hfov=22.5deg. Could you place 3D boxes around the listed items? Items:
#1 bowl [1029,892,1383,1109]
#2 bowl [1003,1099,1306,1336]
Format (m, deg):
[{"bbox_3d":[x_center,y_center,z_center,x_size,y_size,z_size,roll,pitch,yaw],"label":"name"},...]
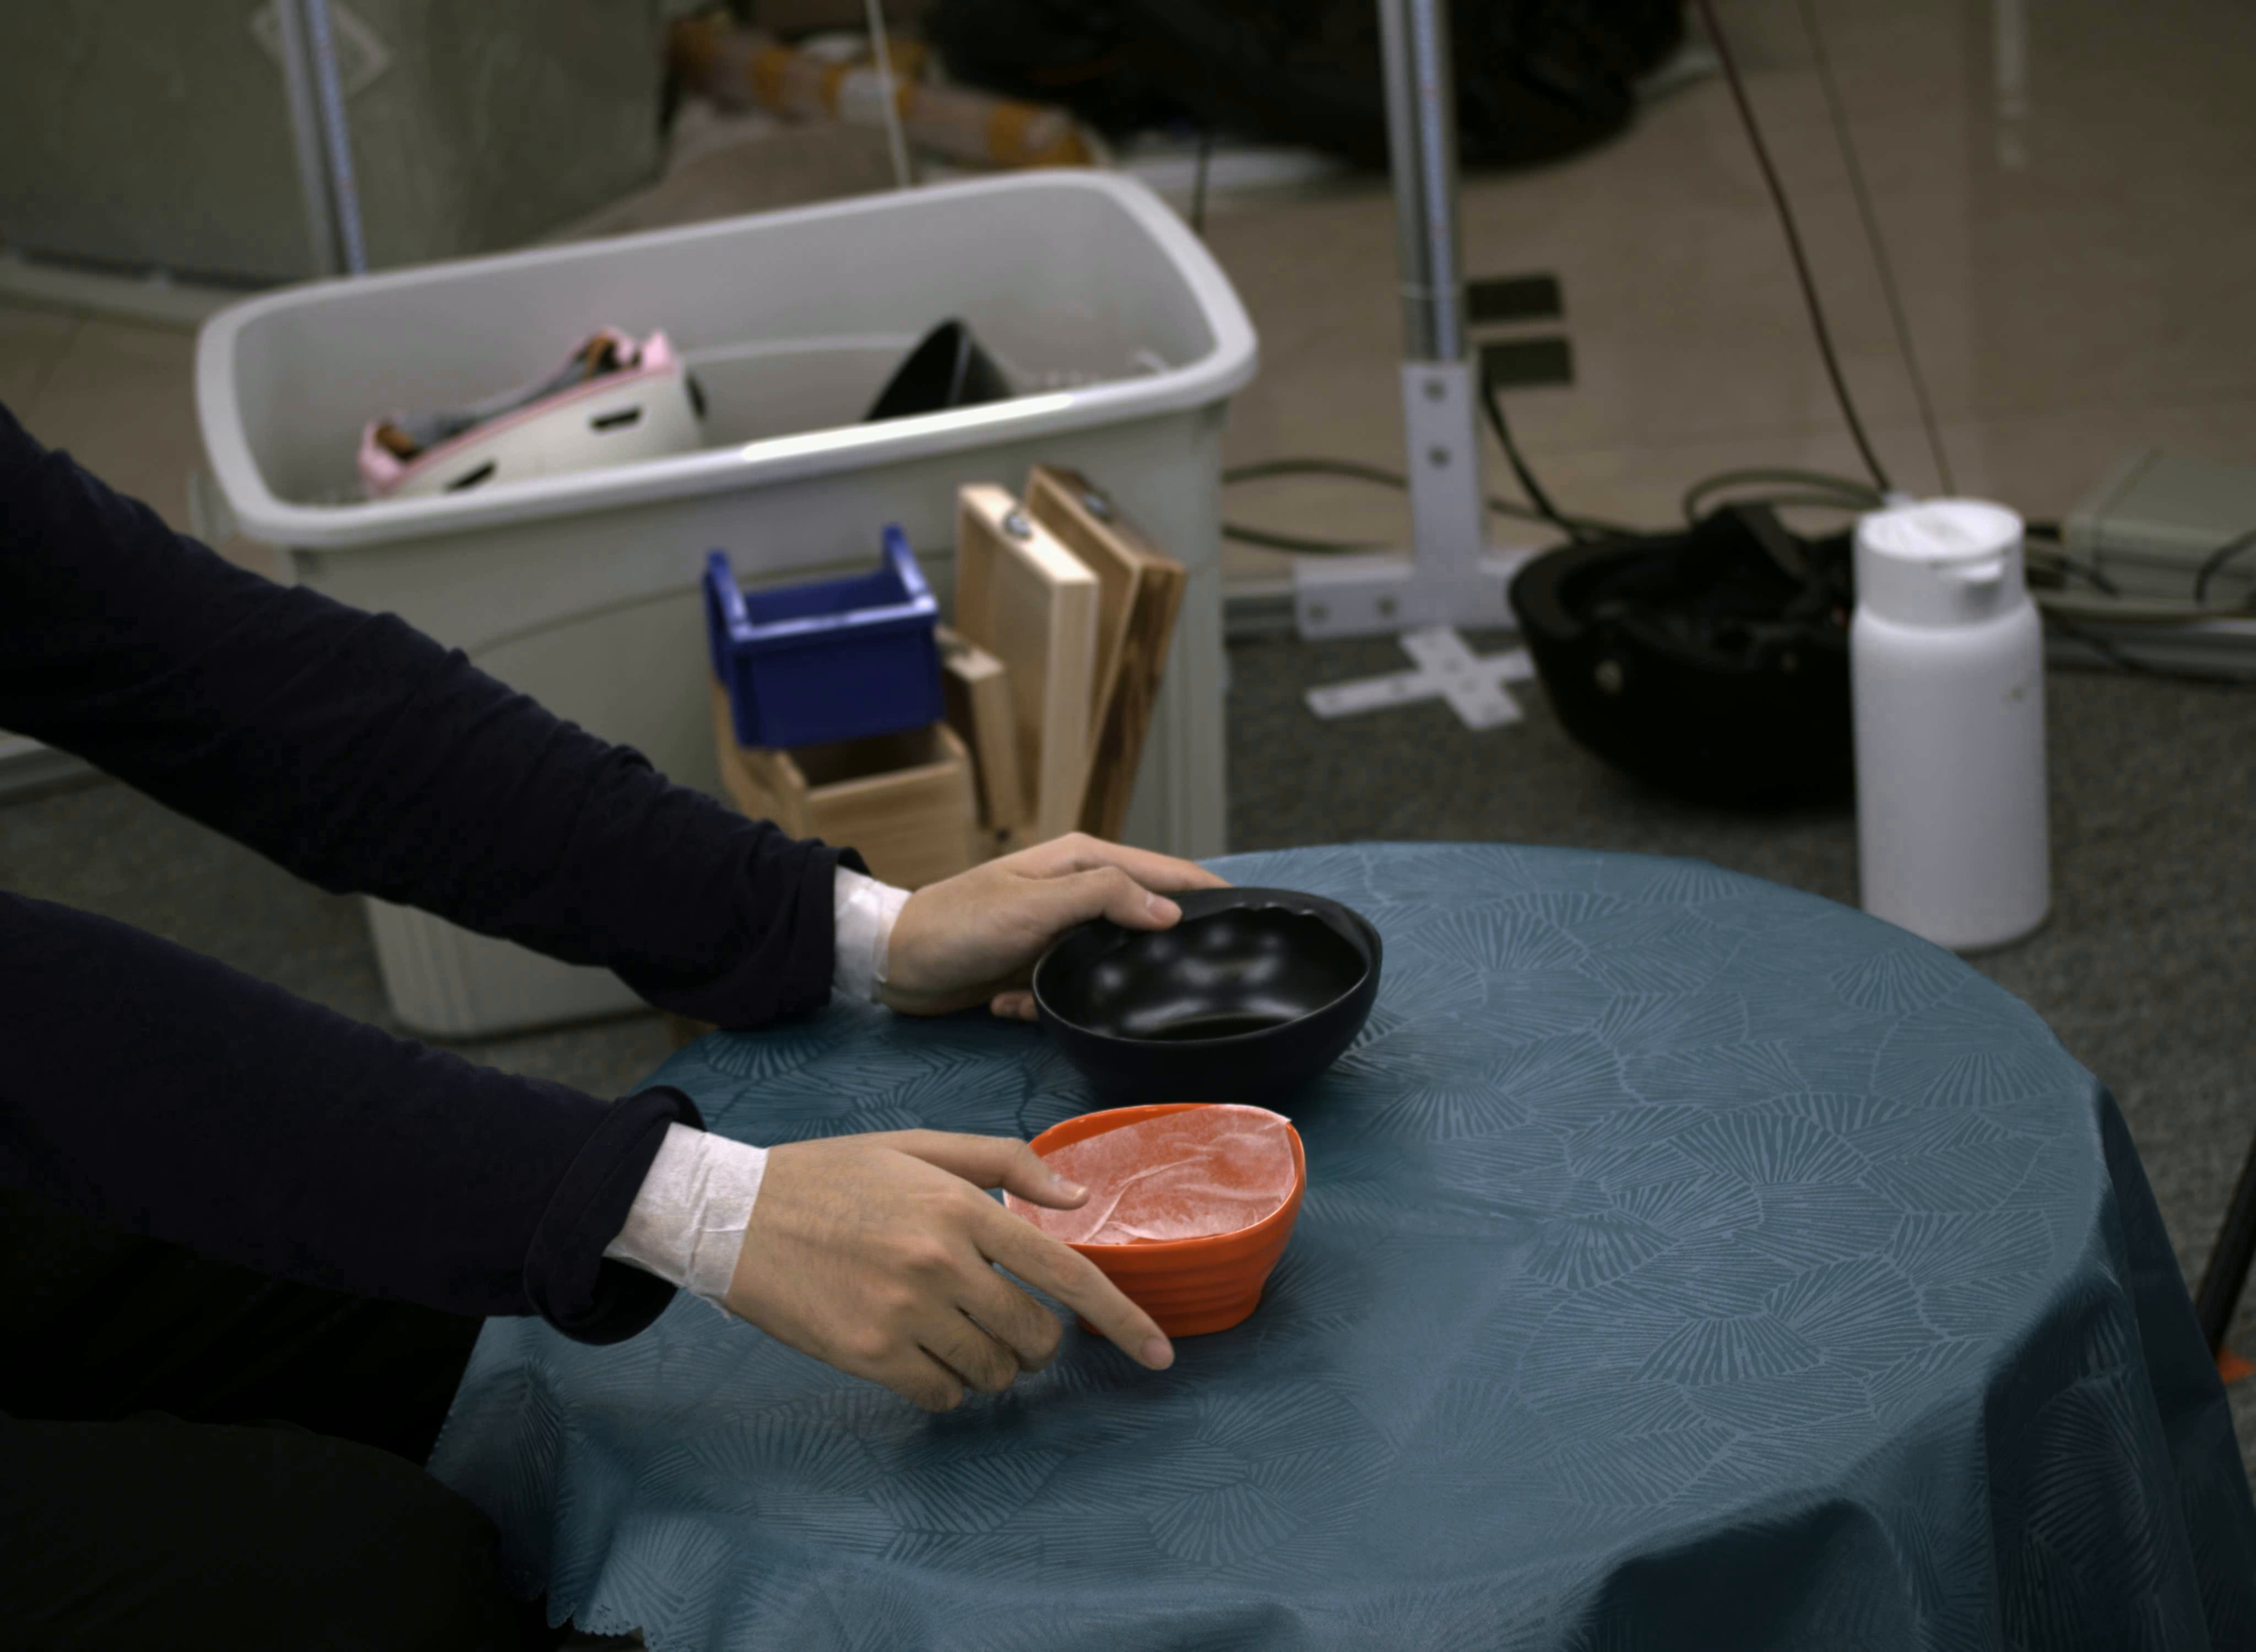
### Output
[{"bbox_3d":[0.034,0.077,2.223,0.140,0.050,0.138,-9,24,4],"label":"bowl"},{"bbox_3d":[0.011,0.147,2.068,0.119,0.052,0.117,-4,26,2],"label":"bowl"}]
